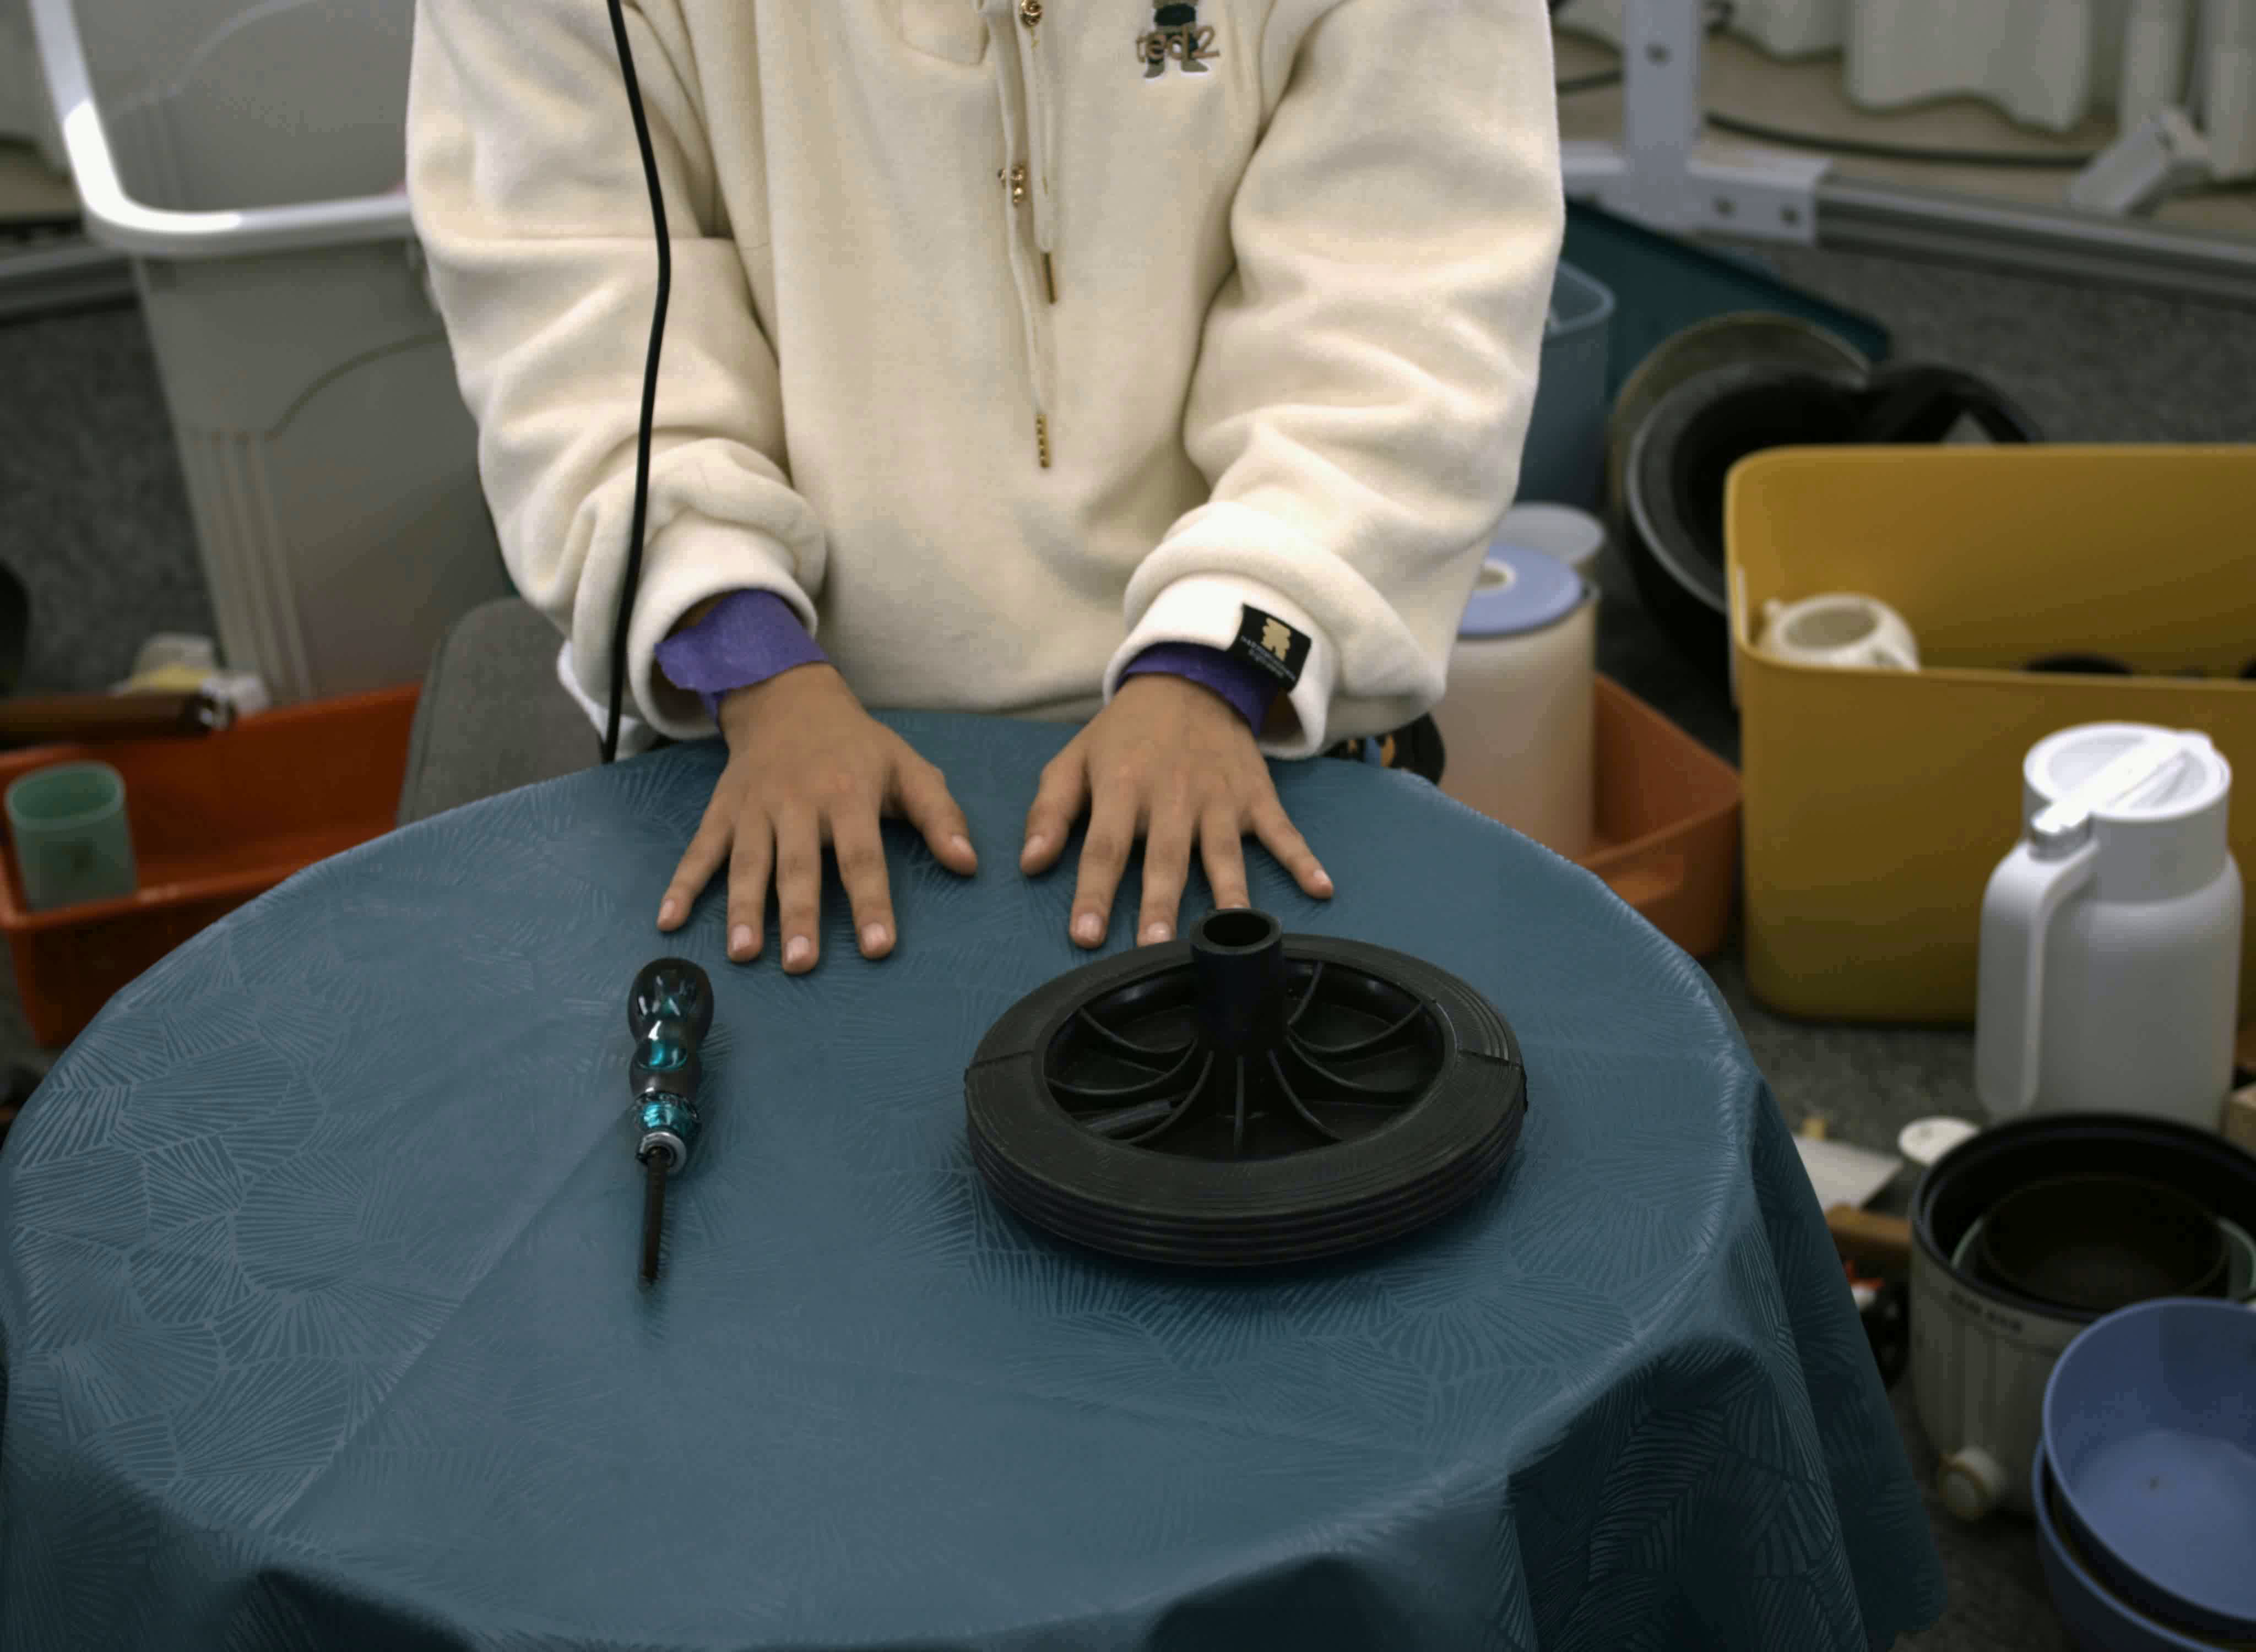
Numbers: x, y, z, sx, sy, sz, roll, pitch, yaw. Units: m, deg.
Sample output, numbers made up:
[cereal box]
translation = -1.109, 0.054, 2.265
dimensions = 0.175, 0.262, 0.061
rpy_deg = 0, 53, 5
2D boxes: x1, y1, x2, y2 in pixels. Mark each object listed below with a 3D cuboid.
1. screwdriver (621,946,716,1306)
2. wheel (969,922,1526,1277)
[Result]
[screwdriver]
translation = -0.158, 0.103, 1.891
dimensions = 0.033, 0.033, 0.193
rpy_deg = -2, 33, 1
[wheel]
translation = 0.038, 0.074, 1.868
dimensions = 0.187, 0.078, 0.192
rpy_deg = 19, 35, 37
